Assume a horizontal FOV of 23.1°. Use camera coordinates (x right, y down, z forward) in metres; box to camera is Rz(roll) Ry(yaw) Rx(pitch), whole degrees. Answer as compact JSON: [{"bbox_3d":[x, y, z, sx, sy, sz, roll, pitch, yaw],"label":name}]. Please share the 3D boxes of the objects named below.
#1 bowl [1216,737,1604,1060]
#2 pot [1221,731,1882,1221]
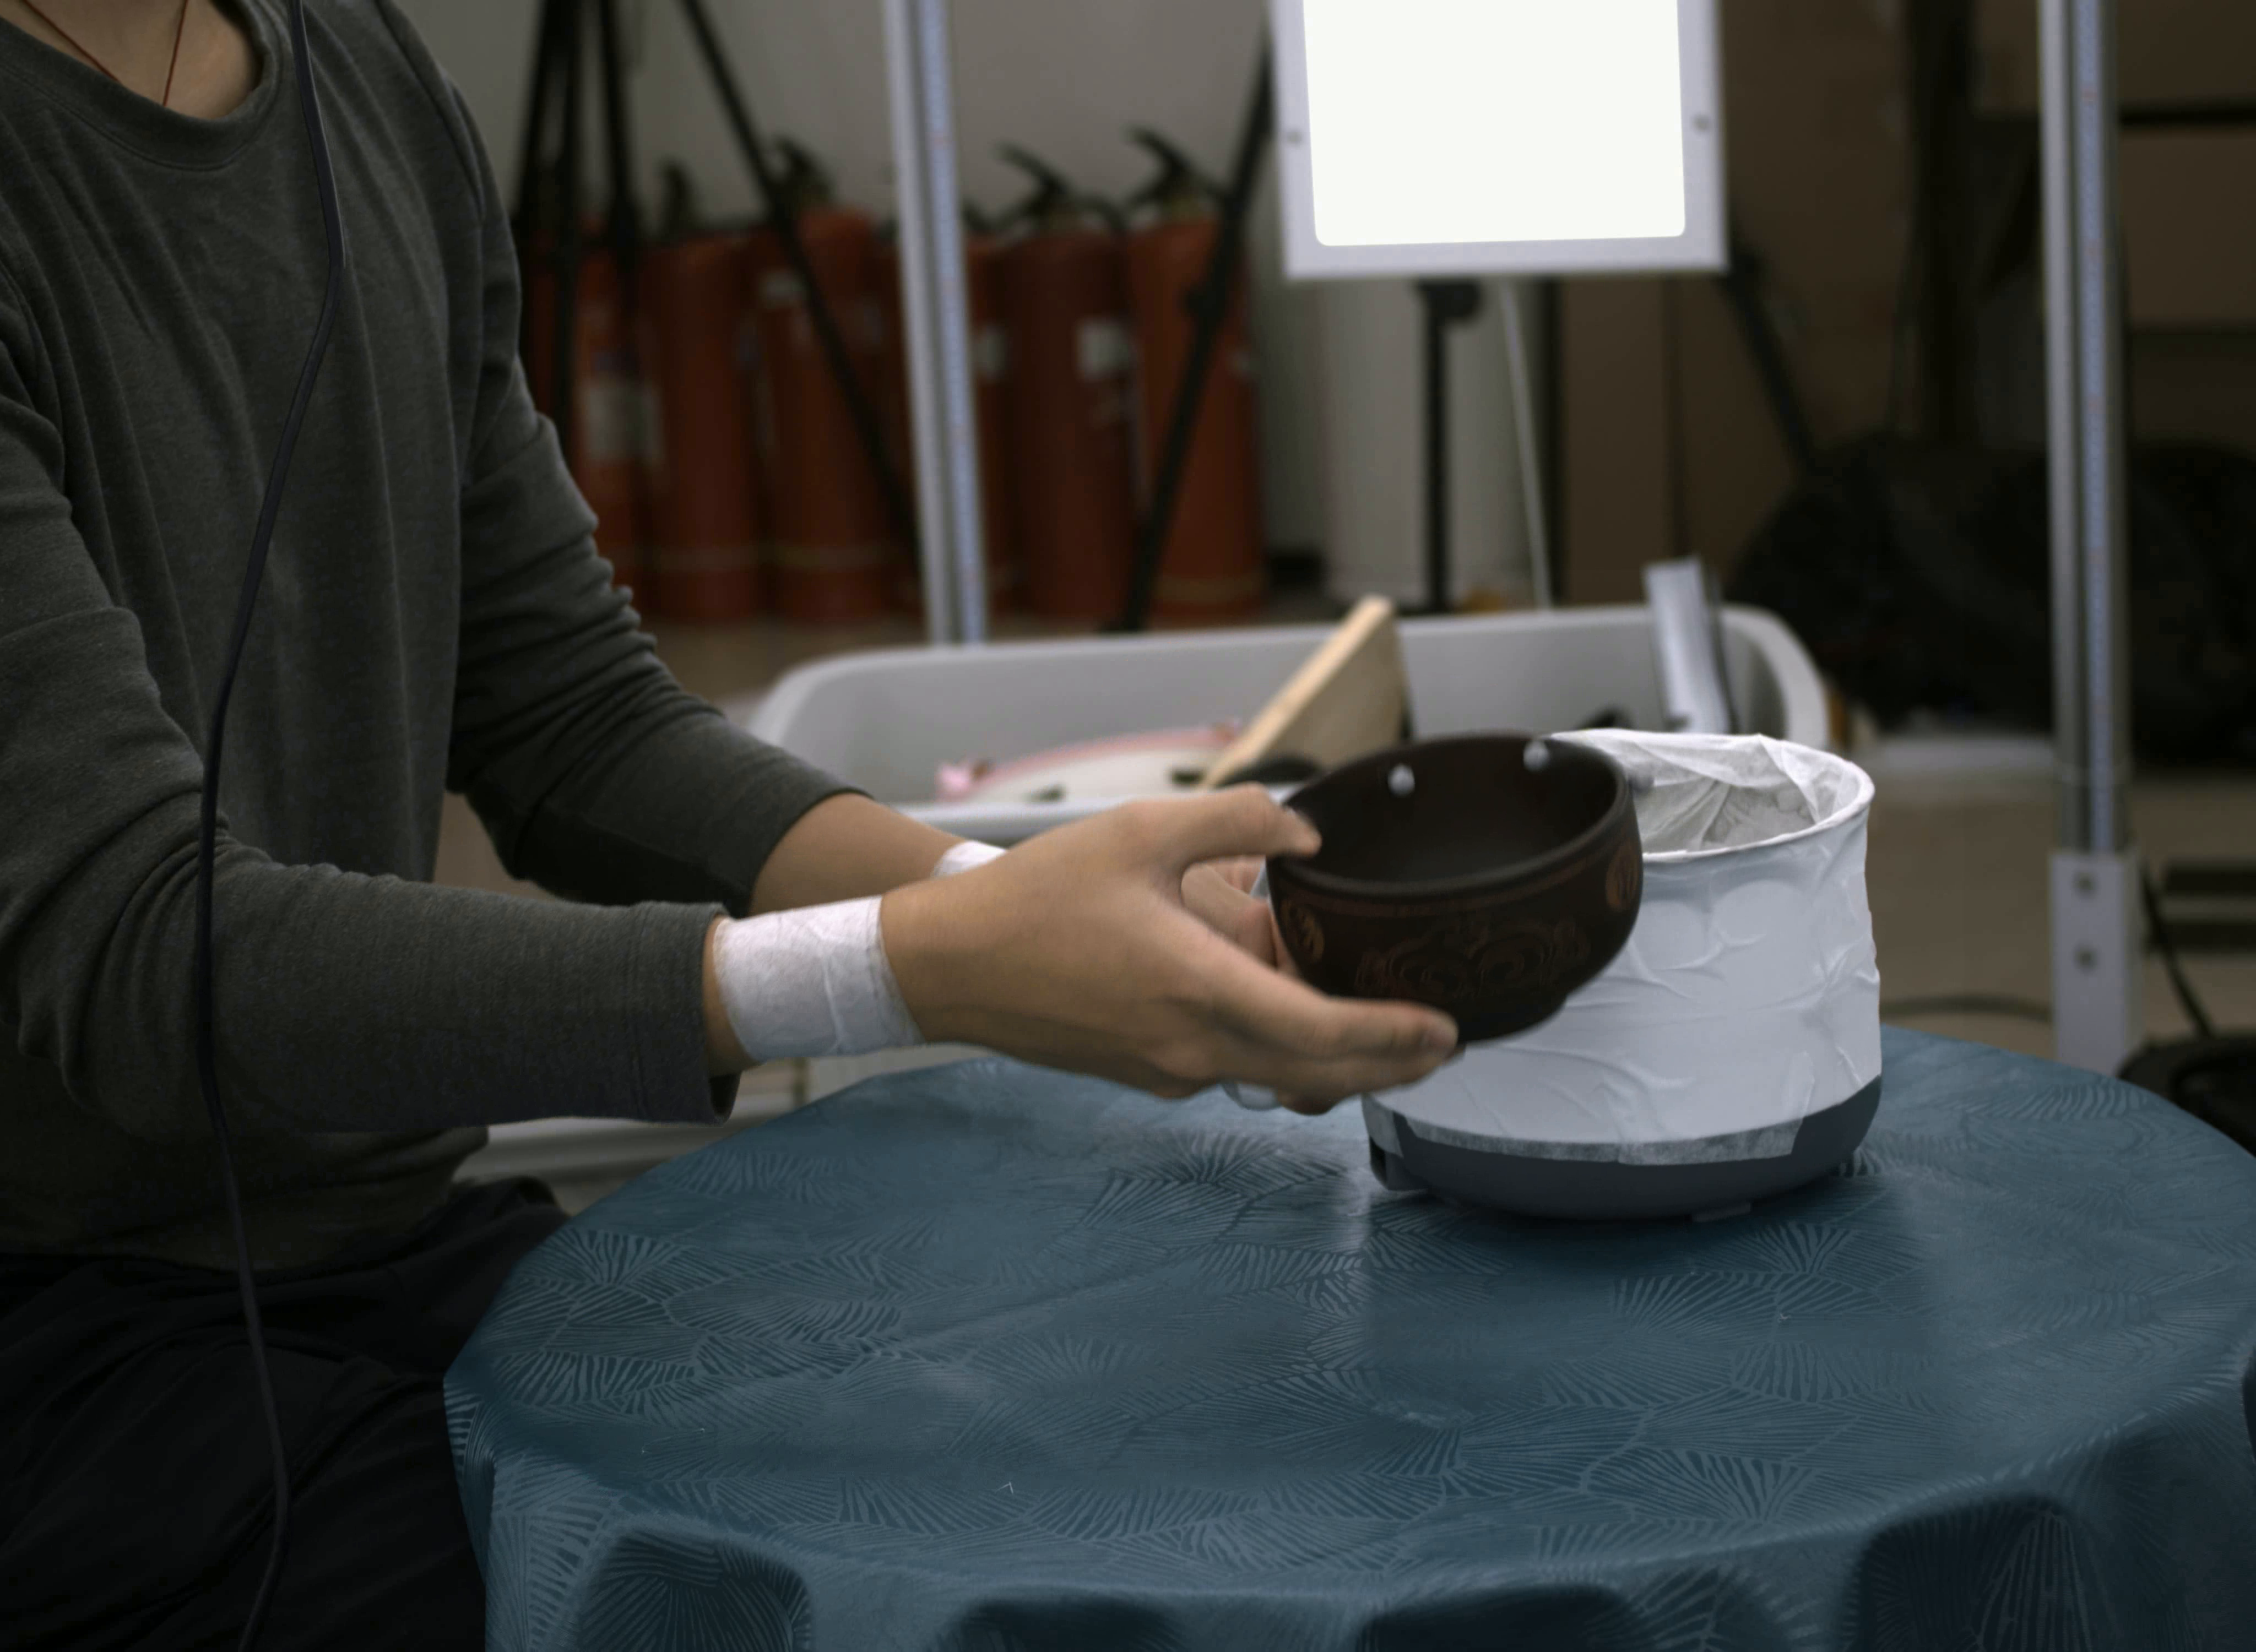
[{"bbox_3d":[0.092,0.028,1.692,0.118,0.070,0.118,-17,22,5],"label":"bowl"},{"bbox_3d":[0.141,0.049,1.873,0.237,0.137,0.175,1,14,22],"label":"pot"}]
